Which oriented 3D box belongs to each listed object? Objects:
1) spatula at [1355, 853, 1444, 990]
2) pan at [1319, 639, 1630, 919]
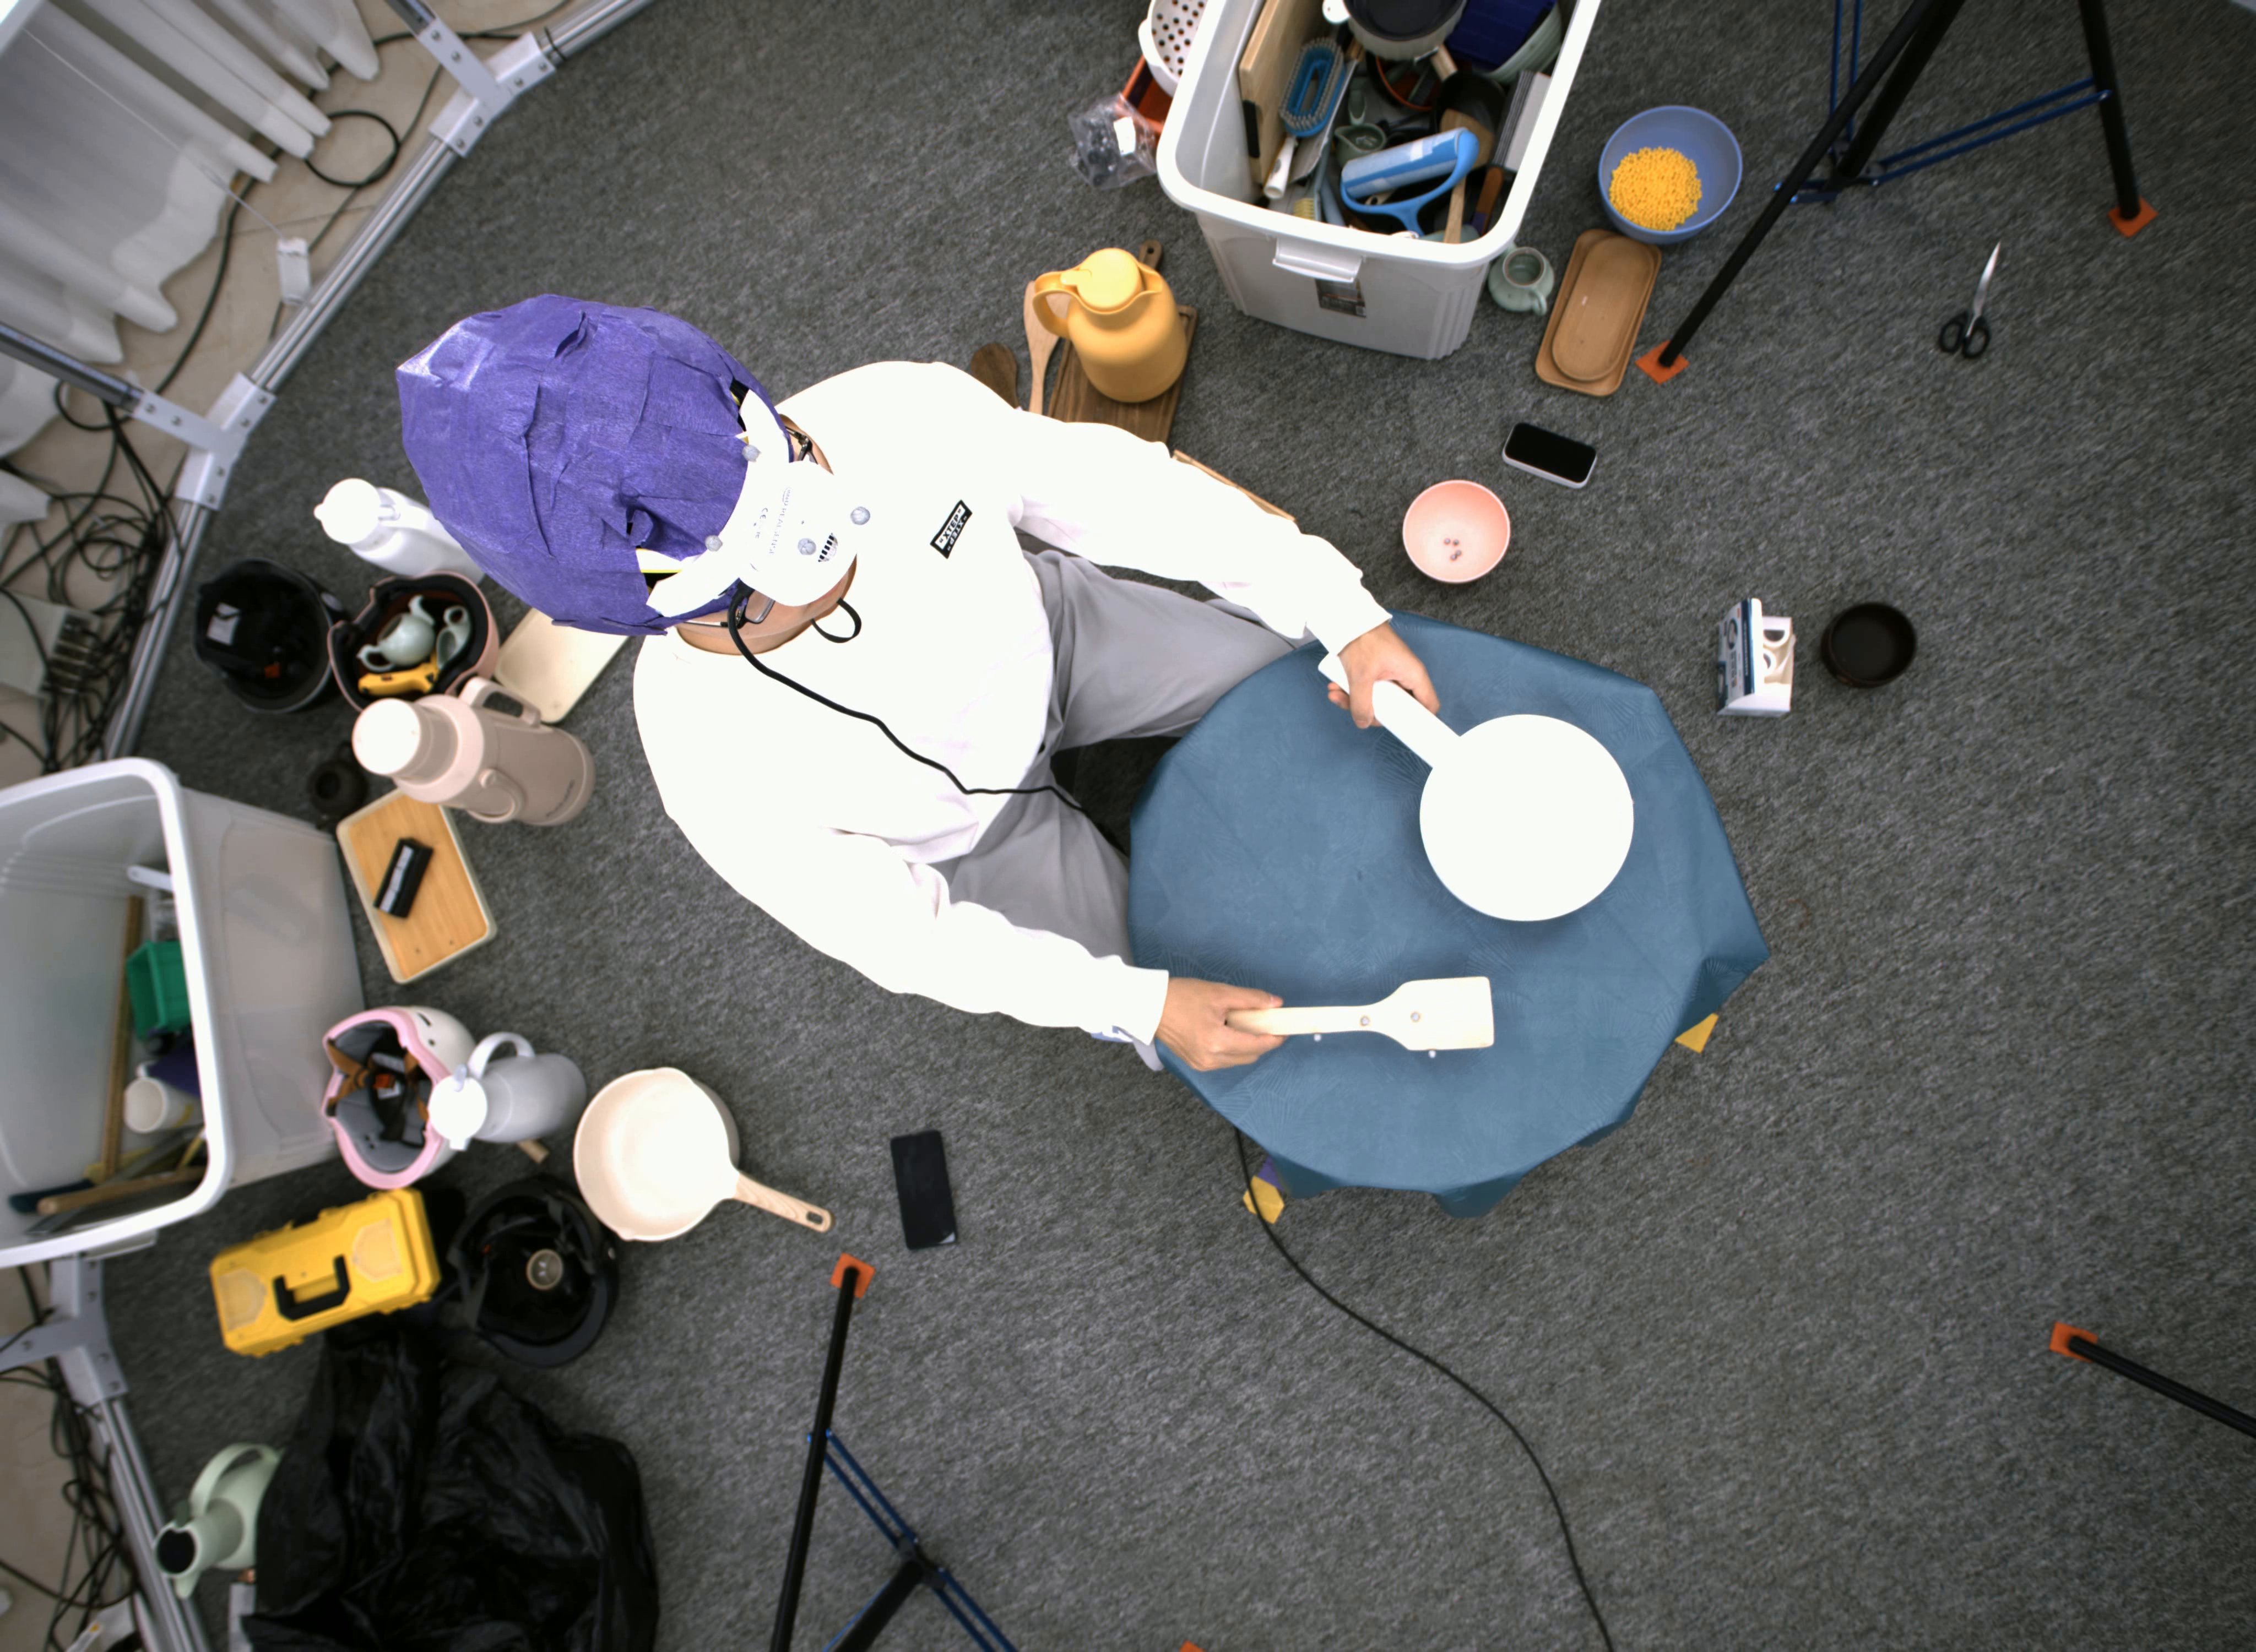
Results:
[{"bbox_3d":[0.420,0.091,1.986,0.072,0.010,0.293,28,92,13],"label":"spatula"},{"bbox_3d":[0.341,-0.057,1.398,0.353,0.102,0.202,42,97,13],"label":"pan"}]
